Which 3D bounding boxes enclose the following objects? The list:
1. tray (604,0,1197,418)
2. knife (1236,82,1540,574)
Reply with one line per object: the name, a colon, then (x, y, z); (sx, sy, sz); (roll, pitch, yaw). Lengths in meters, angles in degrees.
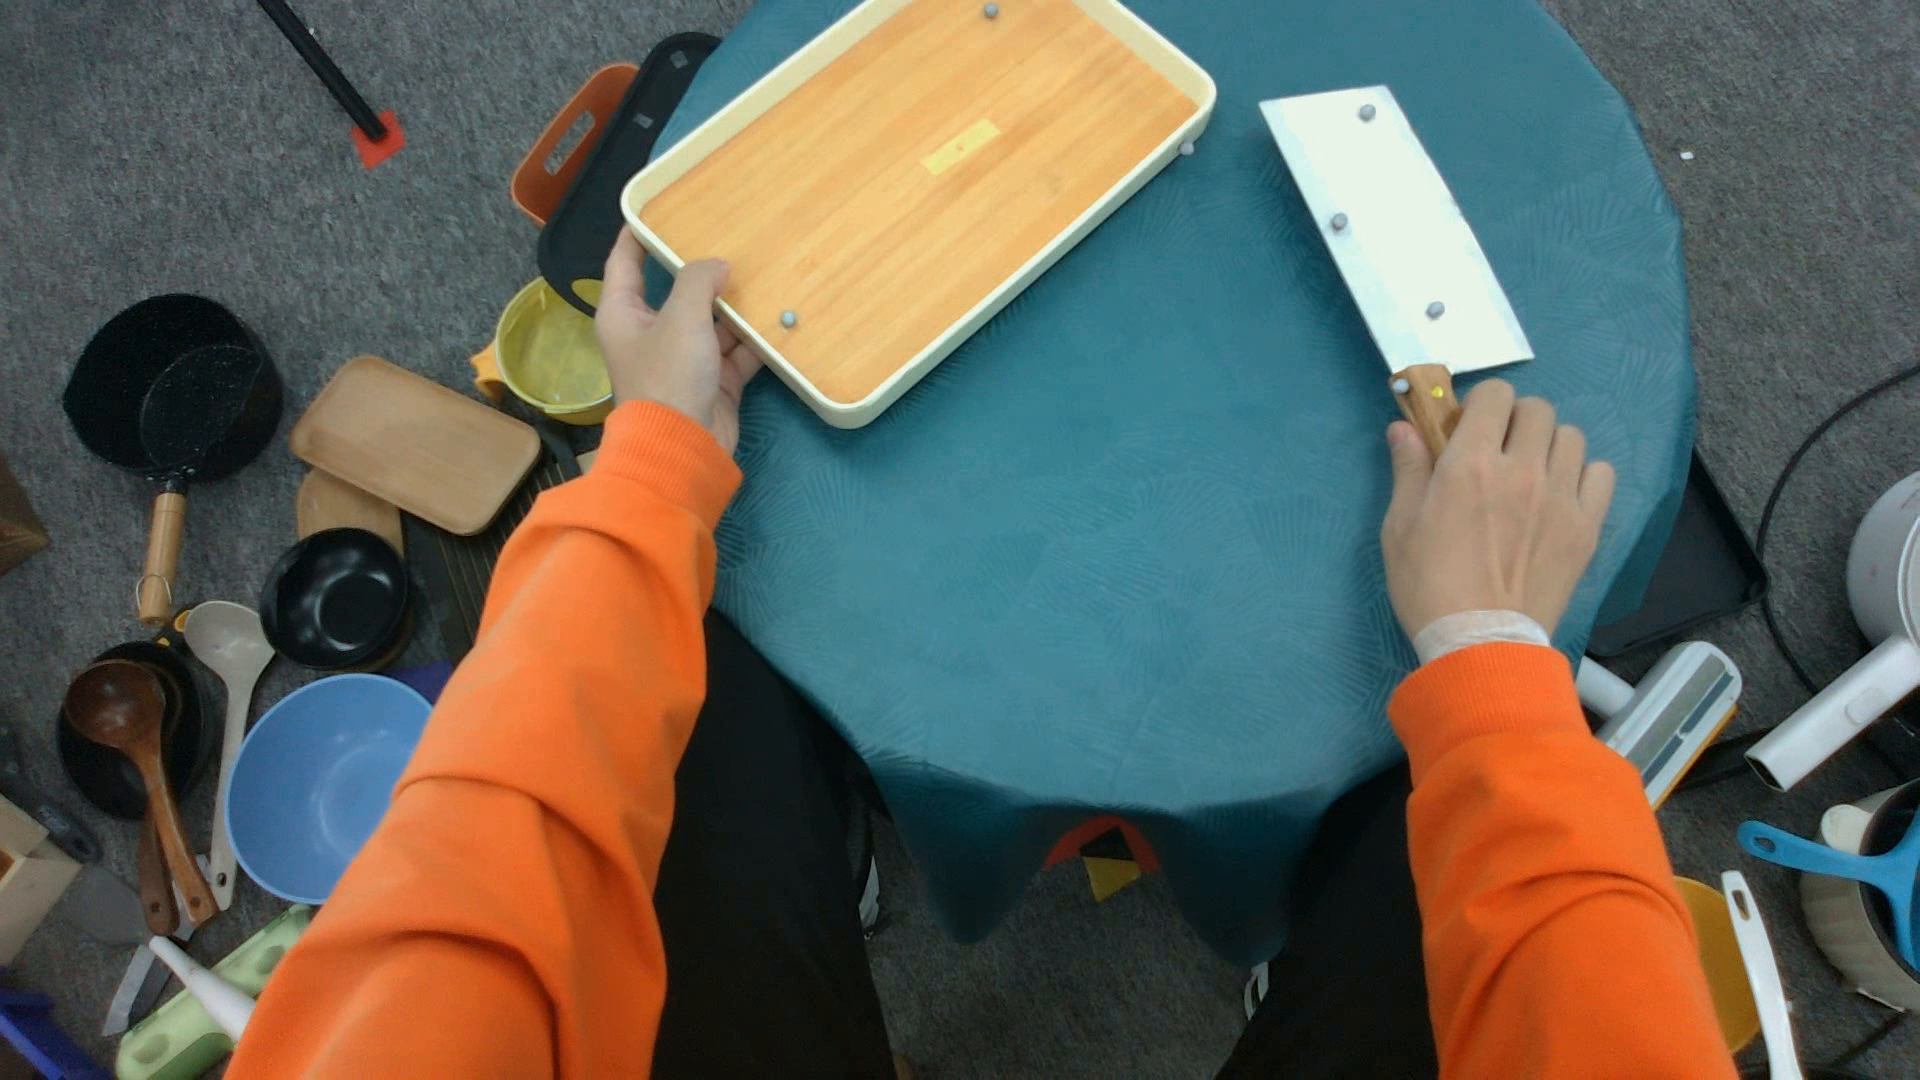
tray: (-0.030, -0.221, 0.777); (0.301, 0.027, 0.191); (-43, 76, -16)
knife: (0.246, -0.127, 0.745); (0.093, 0.021, 0.306); (-14, 69, -19)
